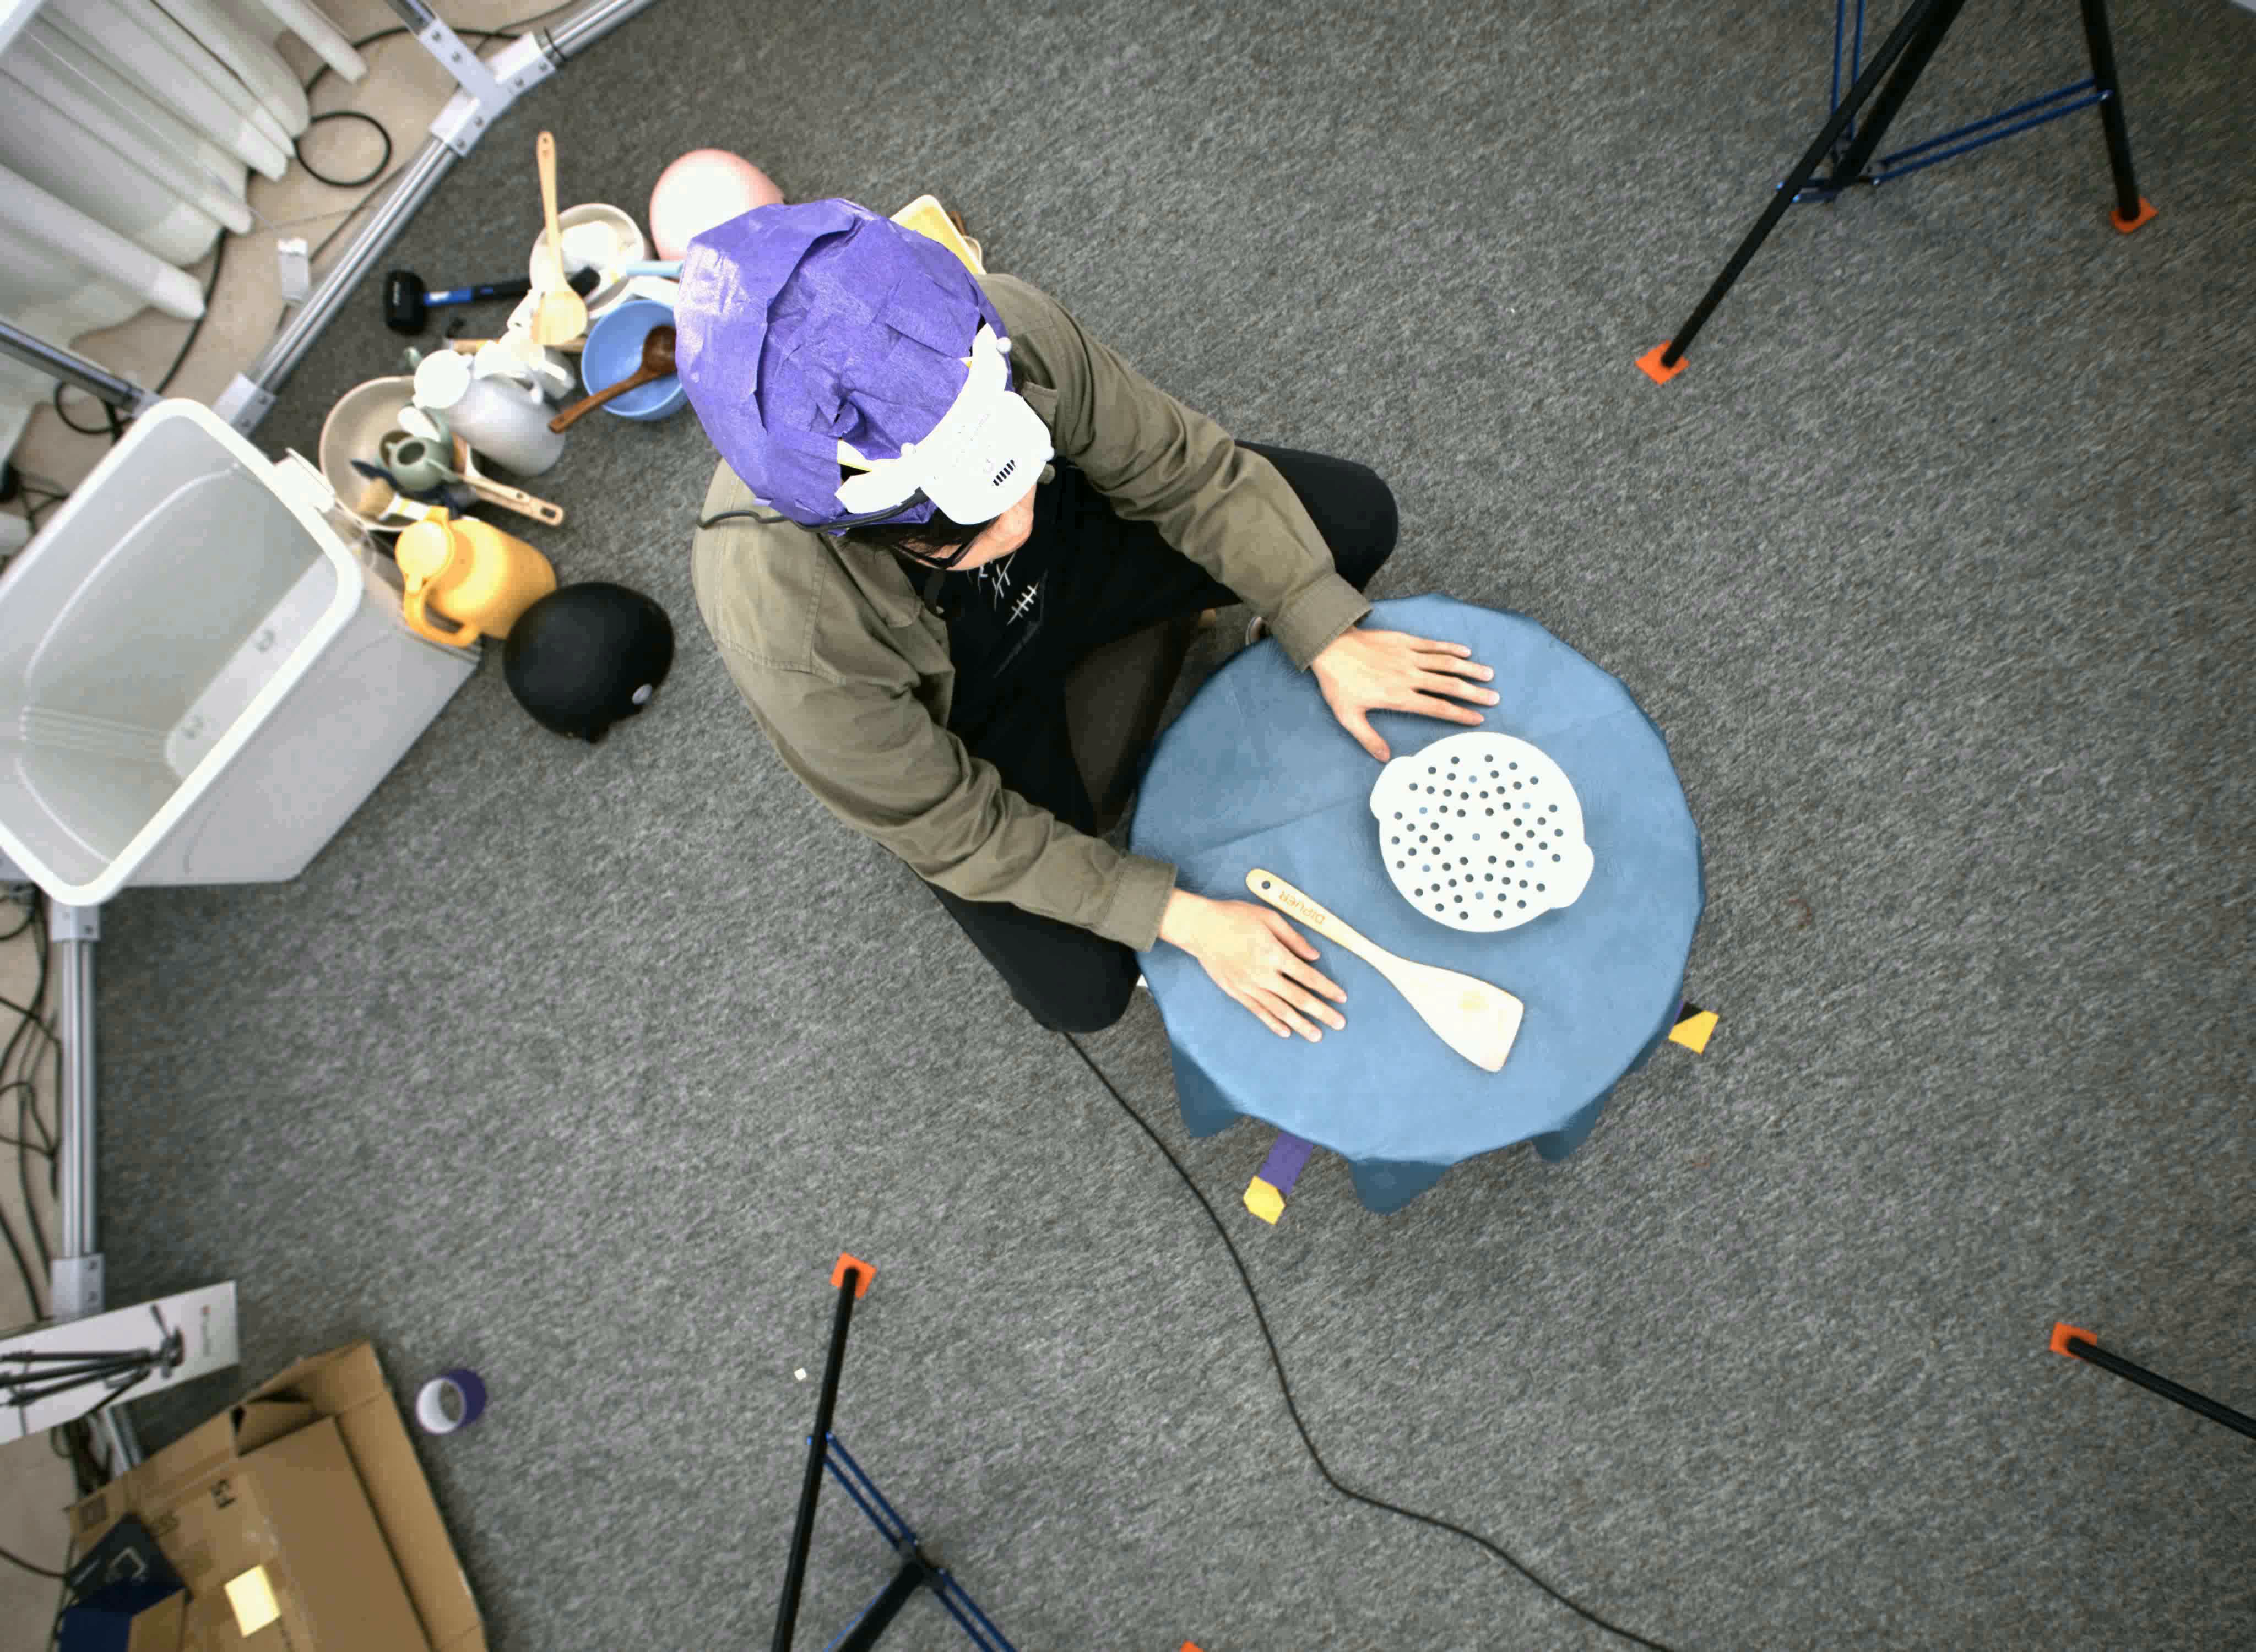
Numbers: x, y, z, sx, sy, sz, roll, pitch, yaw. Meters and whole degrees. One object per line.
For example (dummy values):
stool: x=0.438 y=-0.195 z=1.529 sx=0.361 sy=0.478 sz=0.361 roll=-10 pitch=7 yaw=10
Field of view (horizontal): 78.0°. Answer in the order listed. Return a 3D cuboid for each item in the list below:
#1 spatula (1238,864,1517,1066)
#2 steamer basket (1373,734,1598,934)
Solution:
spatula: x=0.255 y=0.129 z=1.440 sx=0.327 sy=0.016 sz=0.080 roll=32 pitch=93 yaw=9
steamer basket: x=0.361 y=0.009 z=1.402 sx=0.230 sy=0.069 sz=0.202 roll=28 pitch=92 yaw=11
